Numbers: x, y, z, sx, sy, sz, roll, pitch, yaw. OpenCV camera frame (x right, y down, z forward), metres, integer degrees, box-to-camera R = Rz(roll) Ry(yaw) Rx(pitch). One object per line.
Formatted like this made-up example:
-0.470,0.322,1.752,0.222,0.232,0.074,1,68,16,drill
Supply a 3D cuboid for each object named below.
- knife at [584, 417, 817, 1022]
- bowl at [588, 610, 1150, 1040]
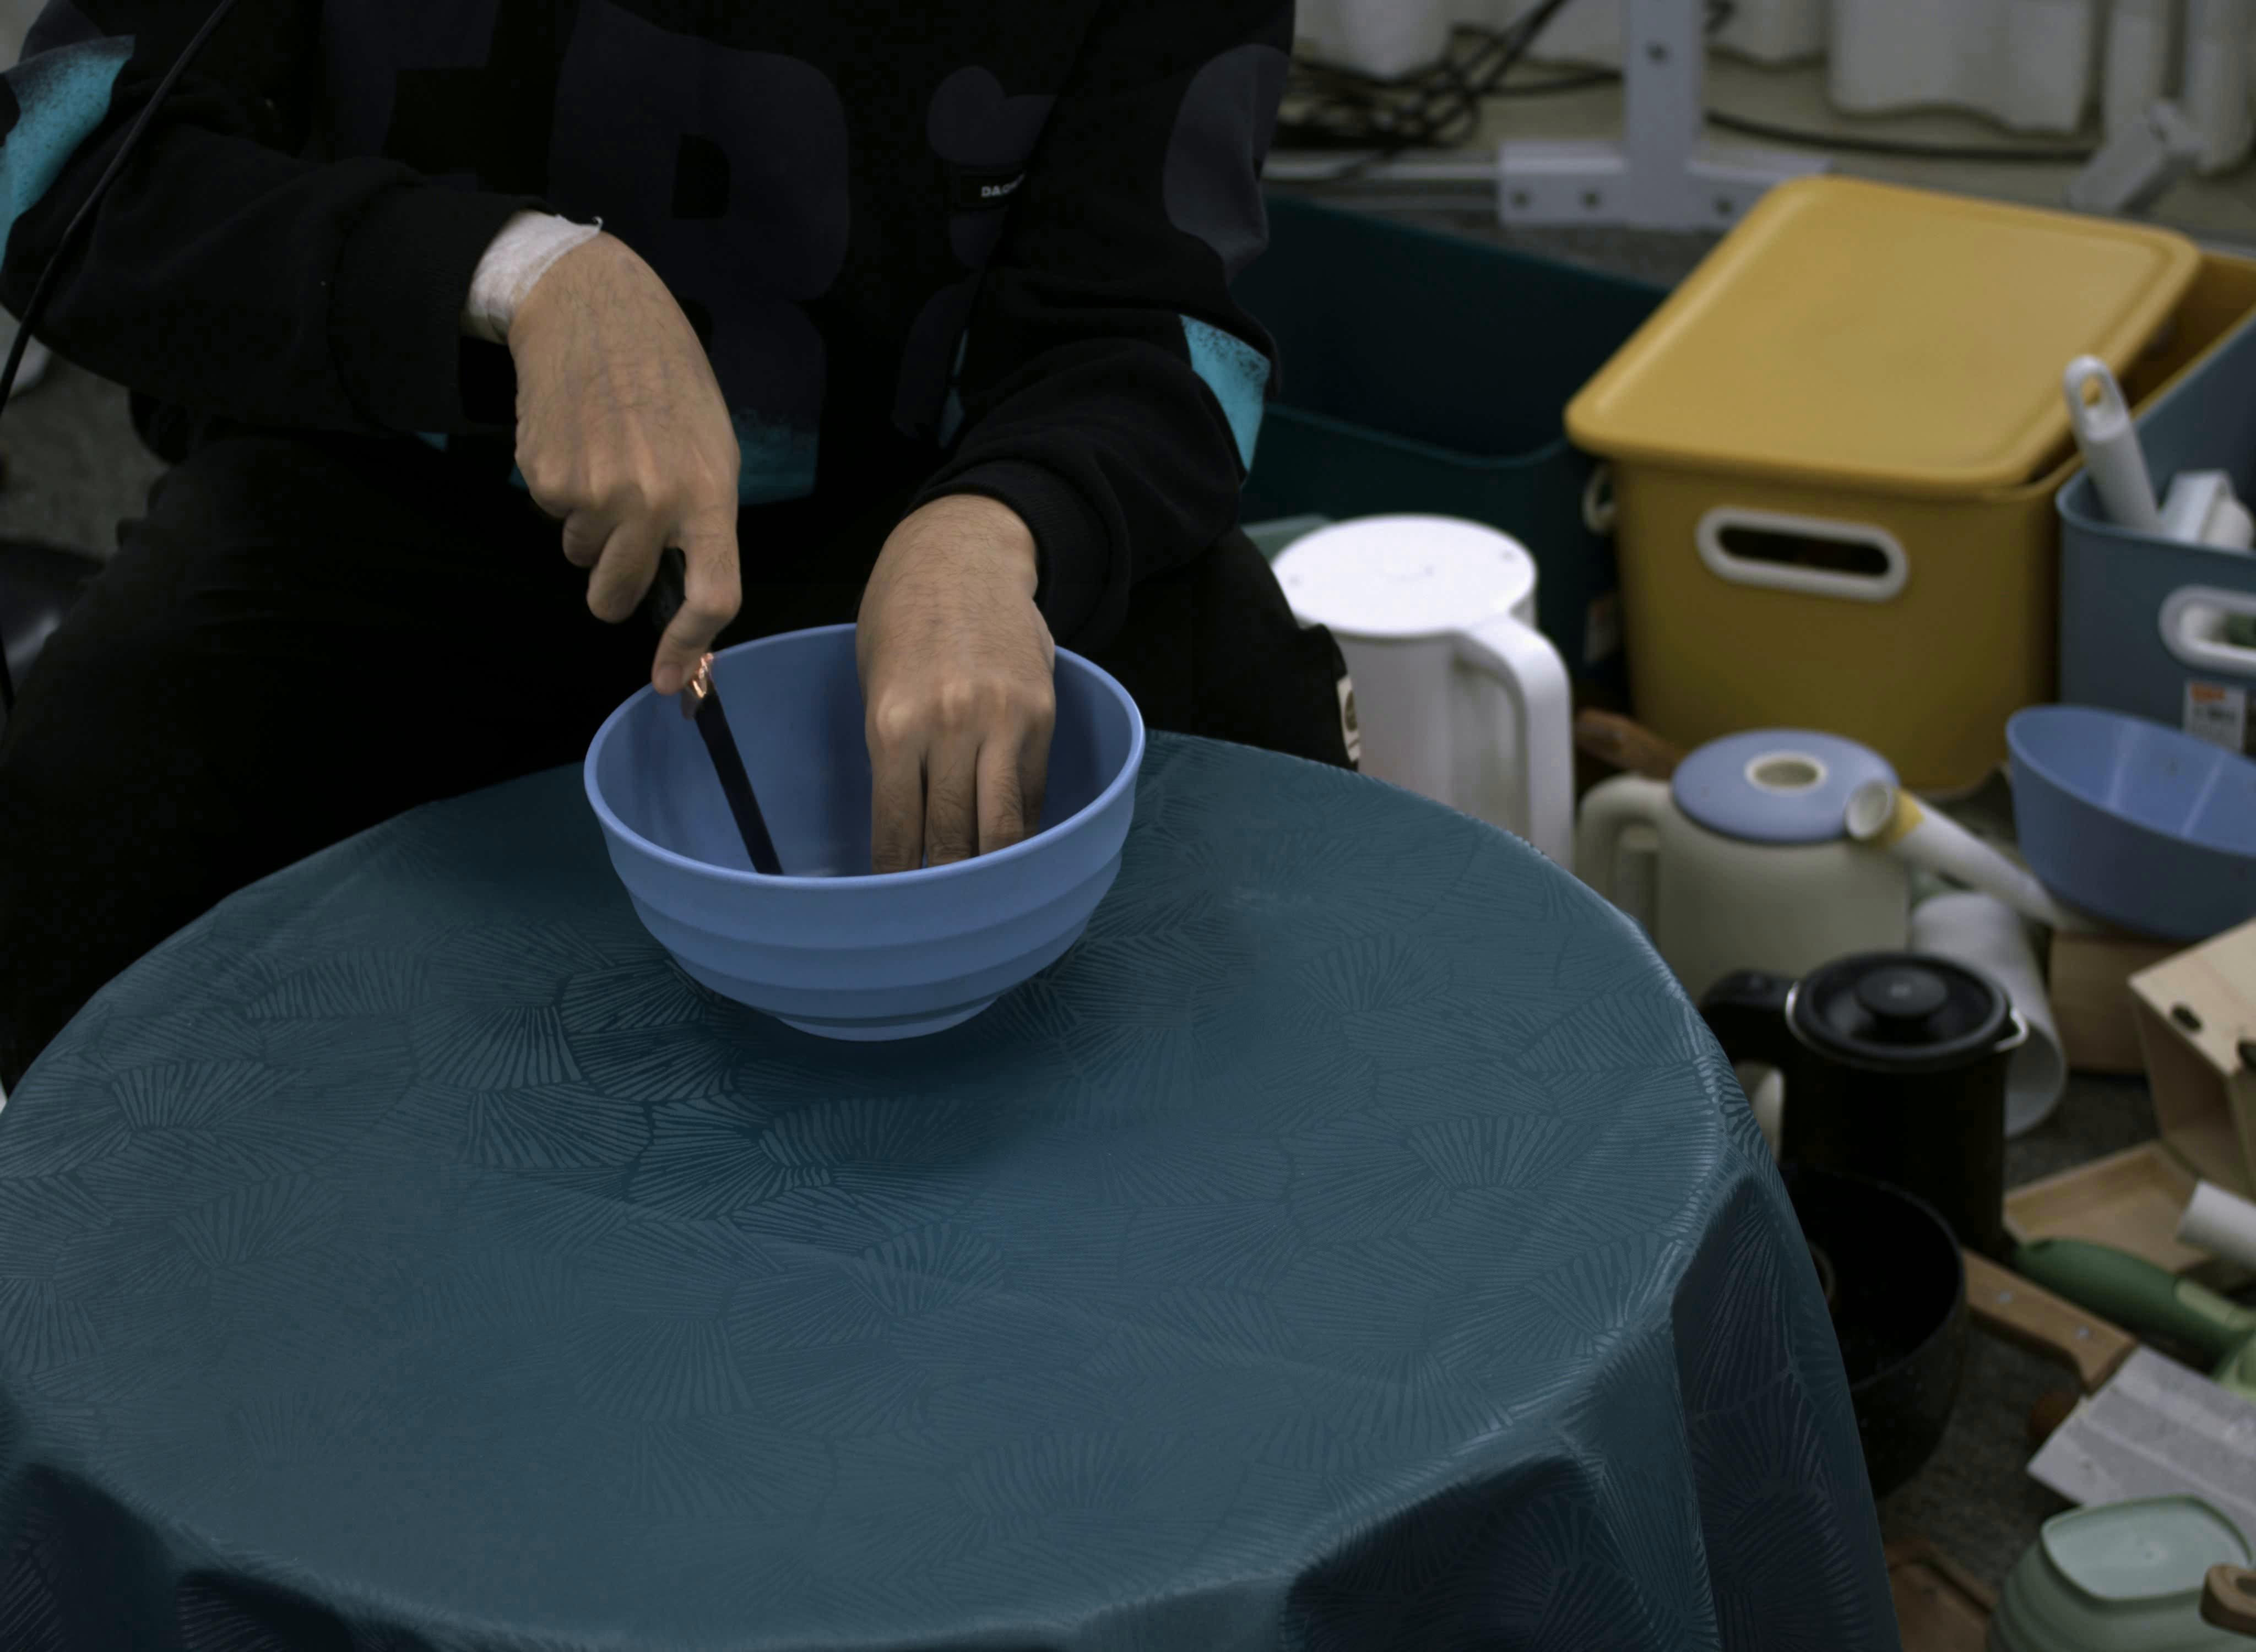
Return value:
-0.147,-0.038,1.981,0.017,0.227,0.026,-15,-11,-37,knife
-0.089,0.011,1.976,0.195,0.094,0.200,-1,30,1,bowl
